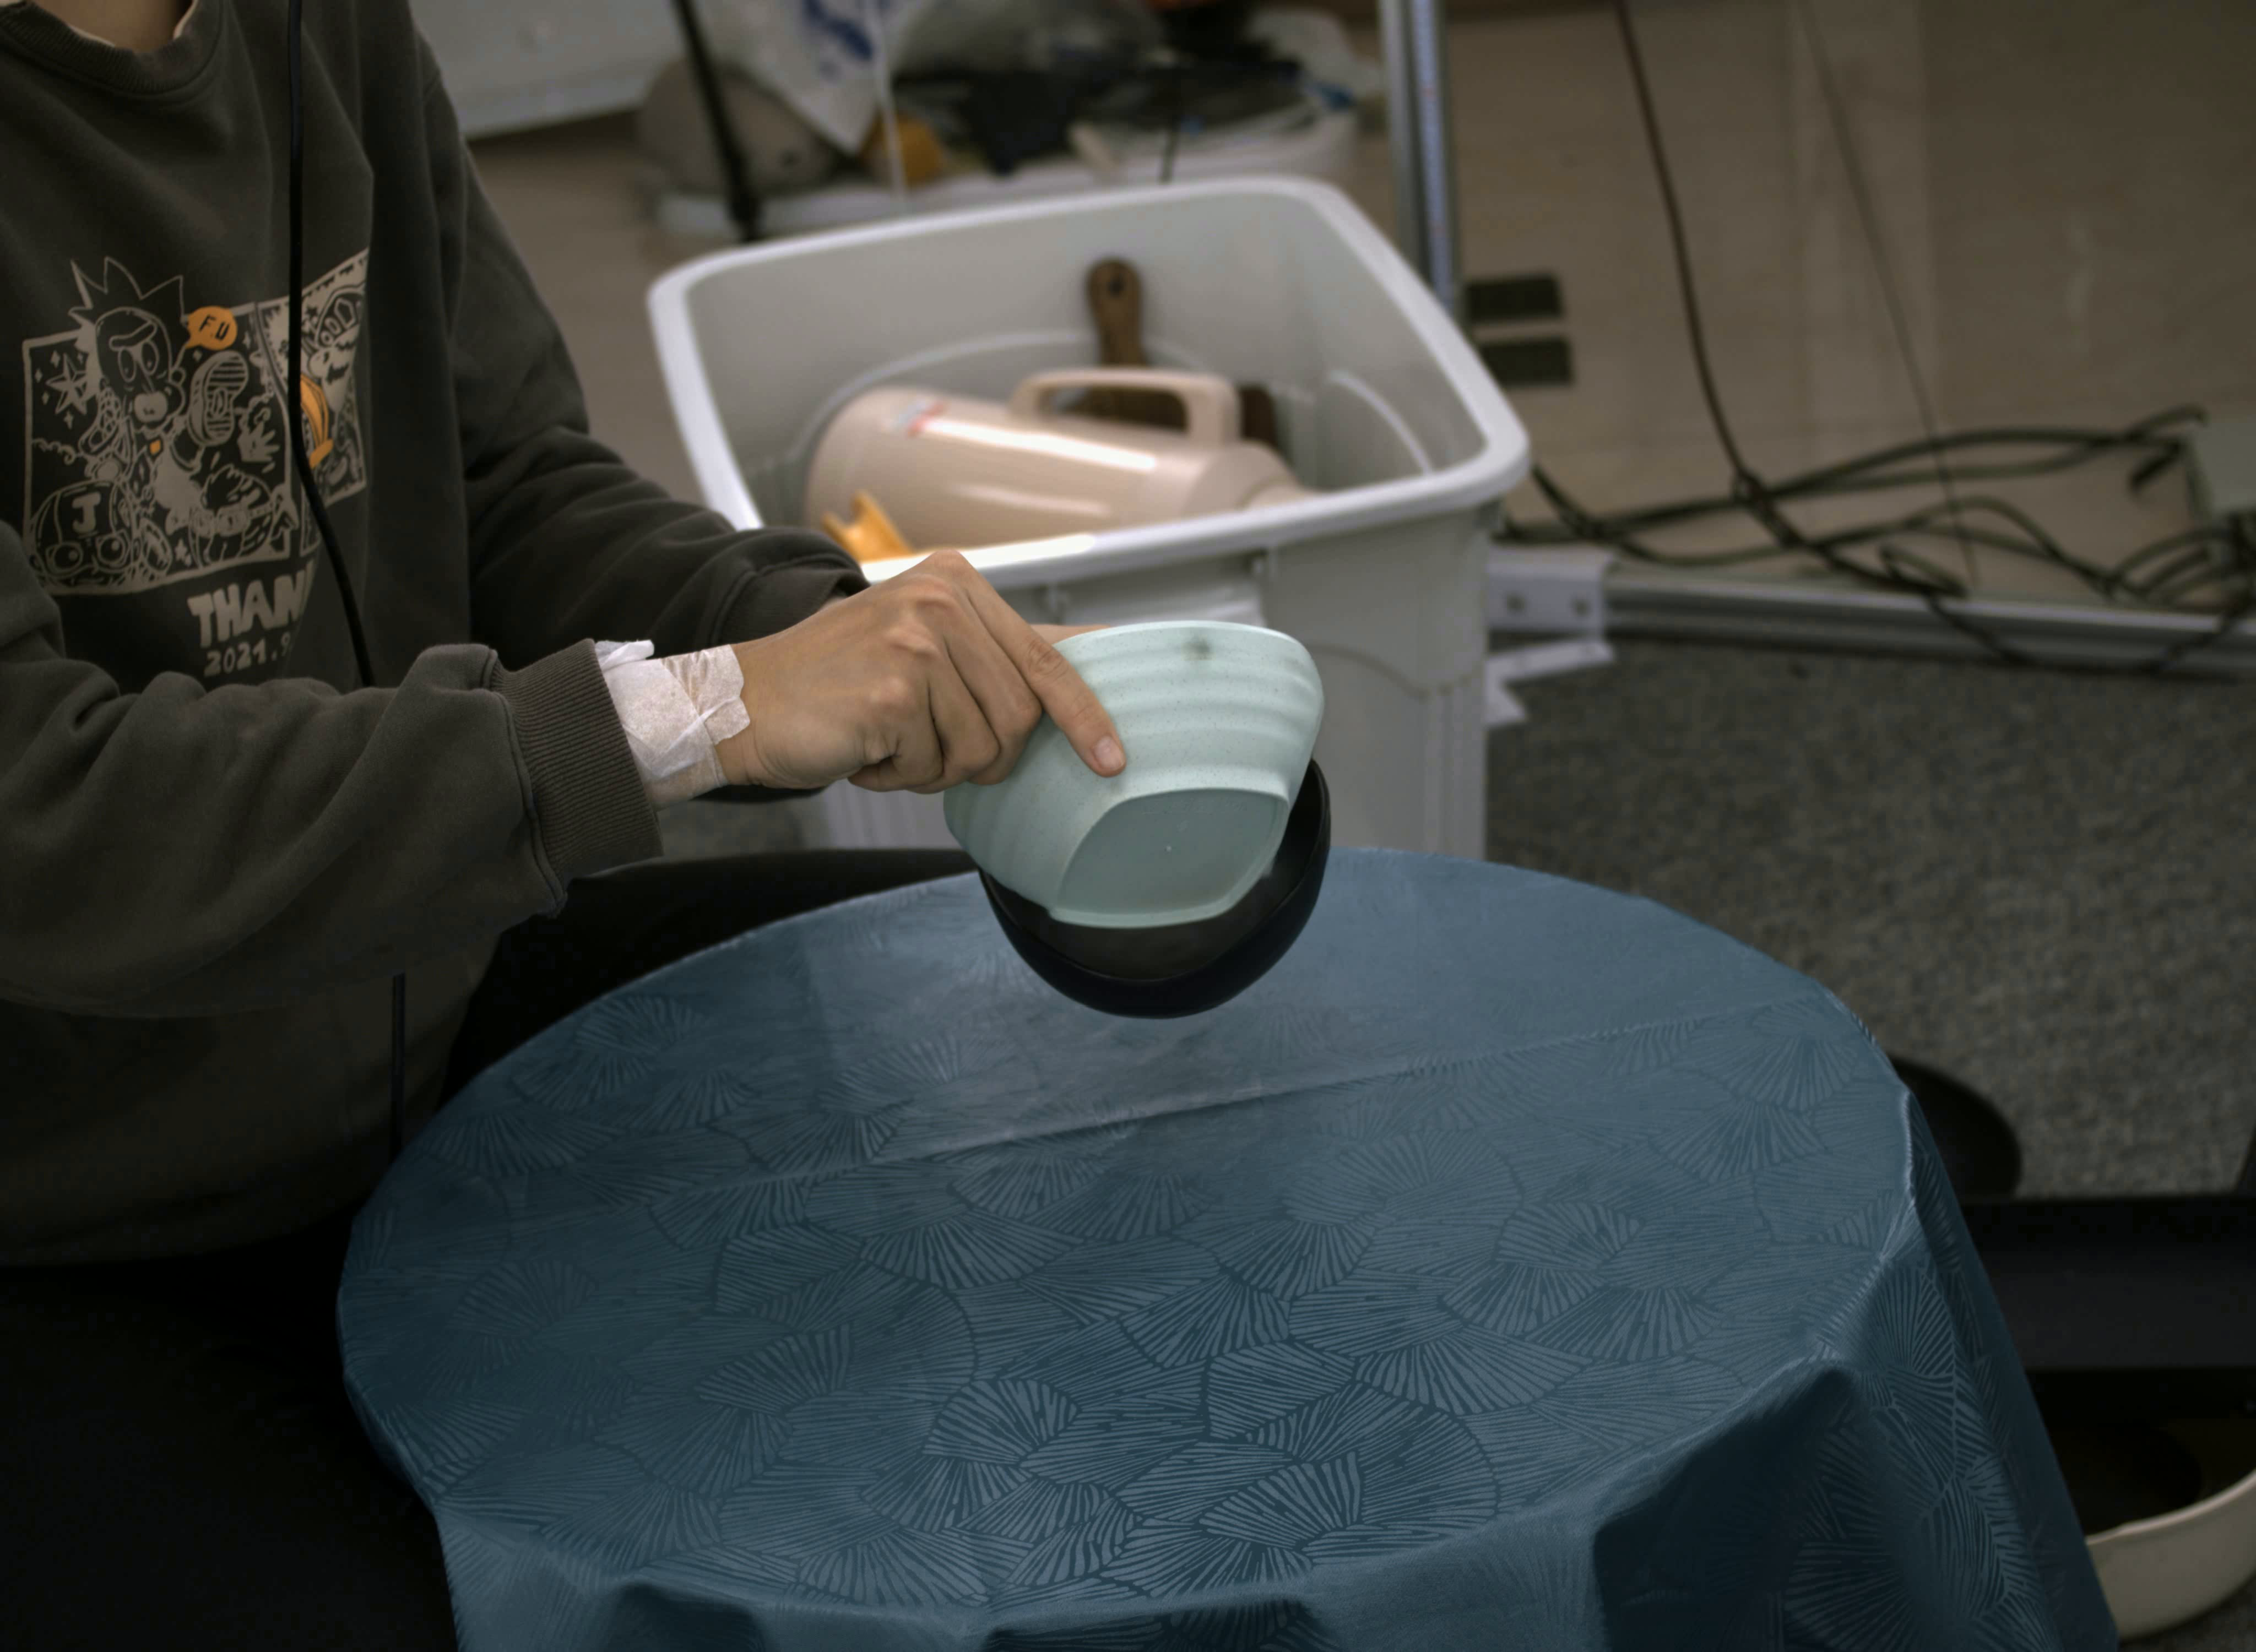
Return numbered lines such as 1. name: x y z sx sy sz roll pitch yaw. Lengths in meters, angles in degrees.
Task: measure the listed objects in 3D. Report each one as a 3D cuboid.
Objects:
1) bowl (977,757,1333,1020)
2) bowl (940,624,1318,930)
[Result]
1. bowl: 0.016 0.028 2.170 0.137 0.068 0.167 -11 32 3
2. bowl: 0.007 -0.009 2.088 0.151 0.154 0.058 -11 56 -9
